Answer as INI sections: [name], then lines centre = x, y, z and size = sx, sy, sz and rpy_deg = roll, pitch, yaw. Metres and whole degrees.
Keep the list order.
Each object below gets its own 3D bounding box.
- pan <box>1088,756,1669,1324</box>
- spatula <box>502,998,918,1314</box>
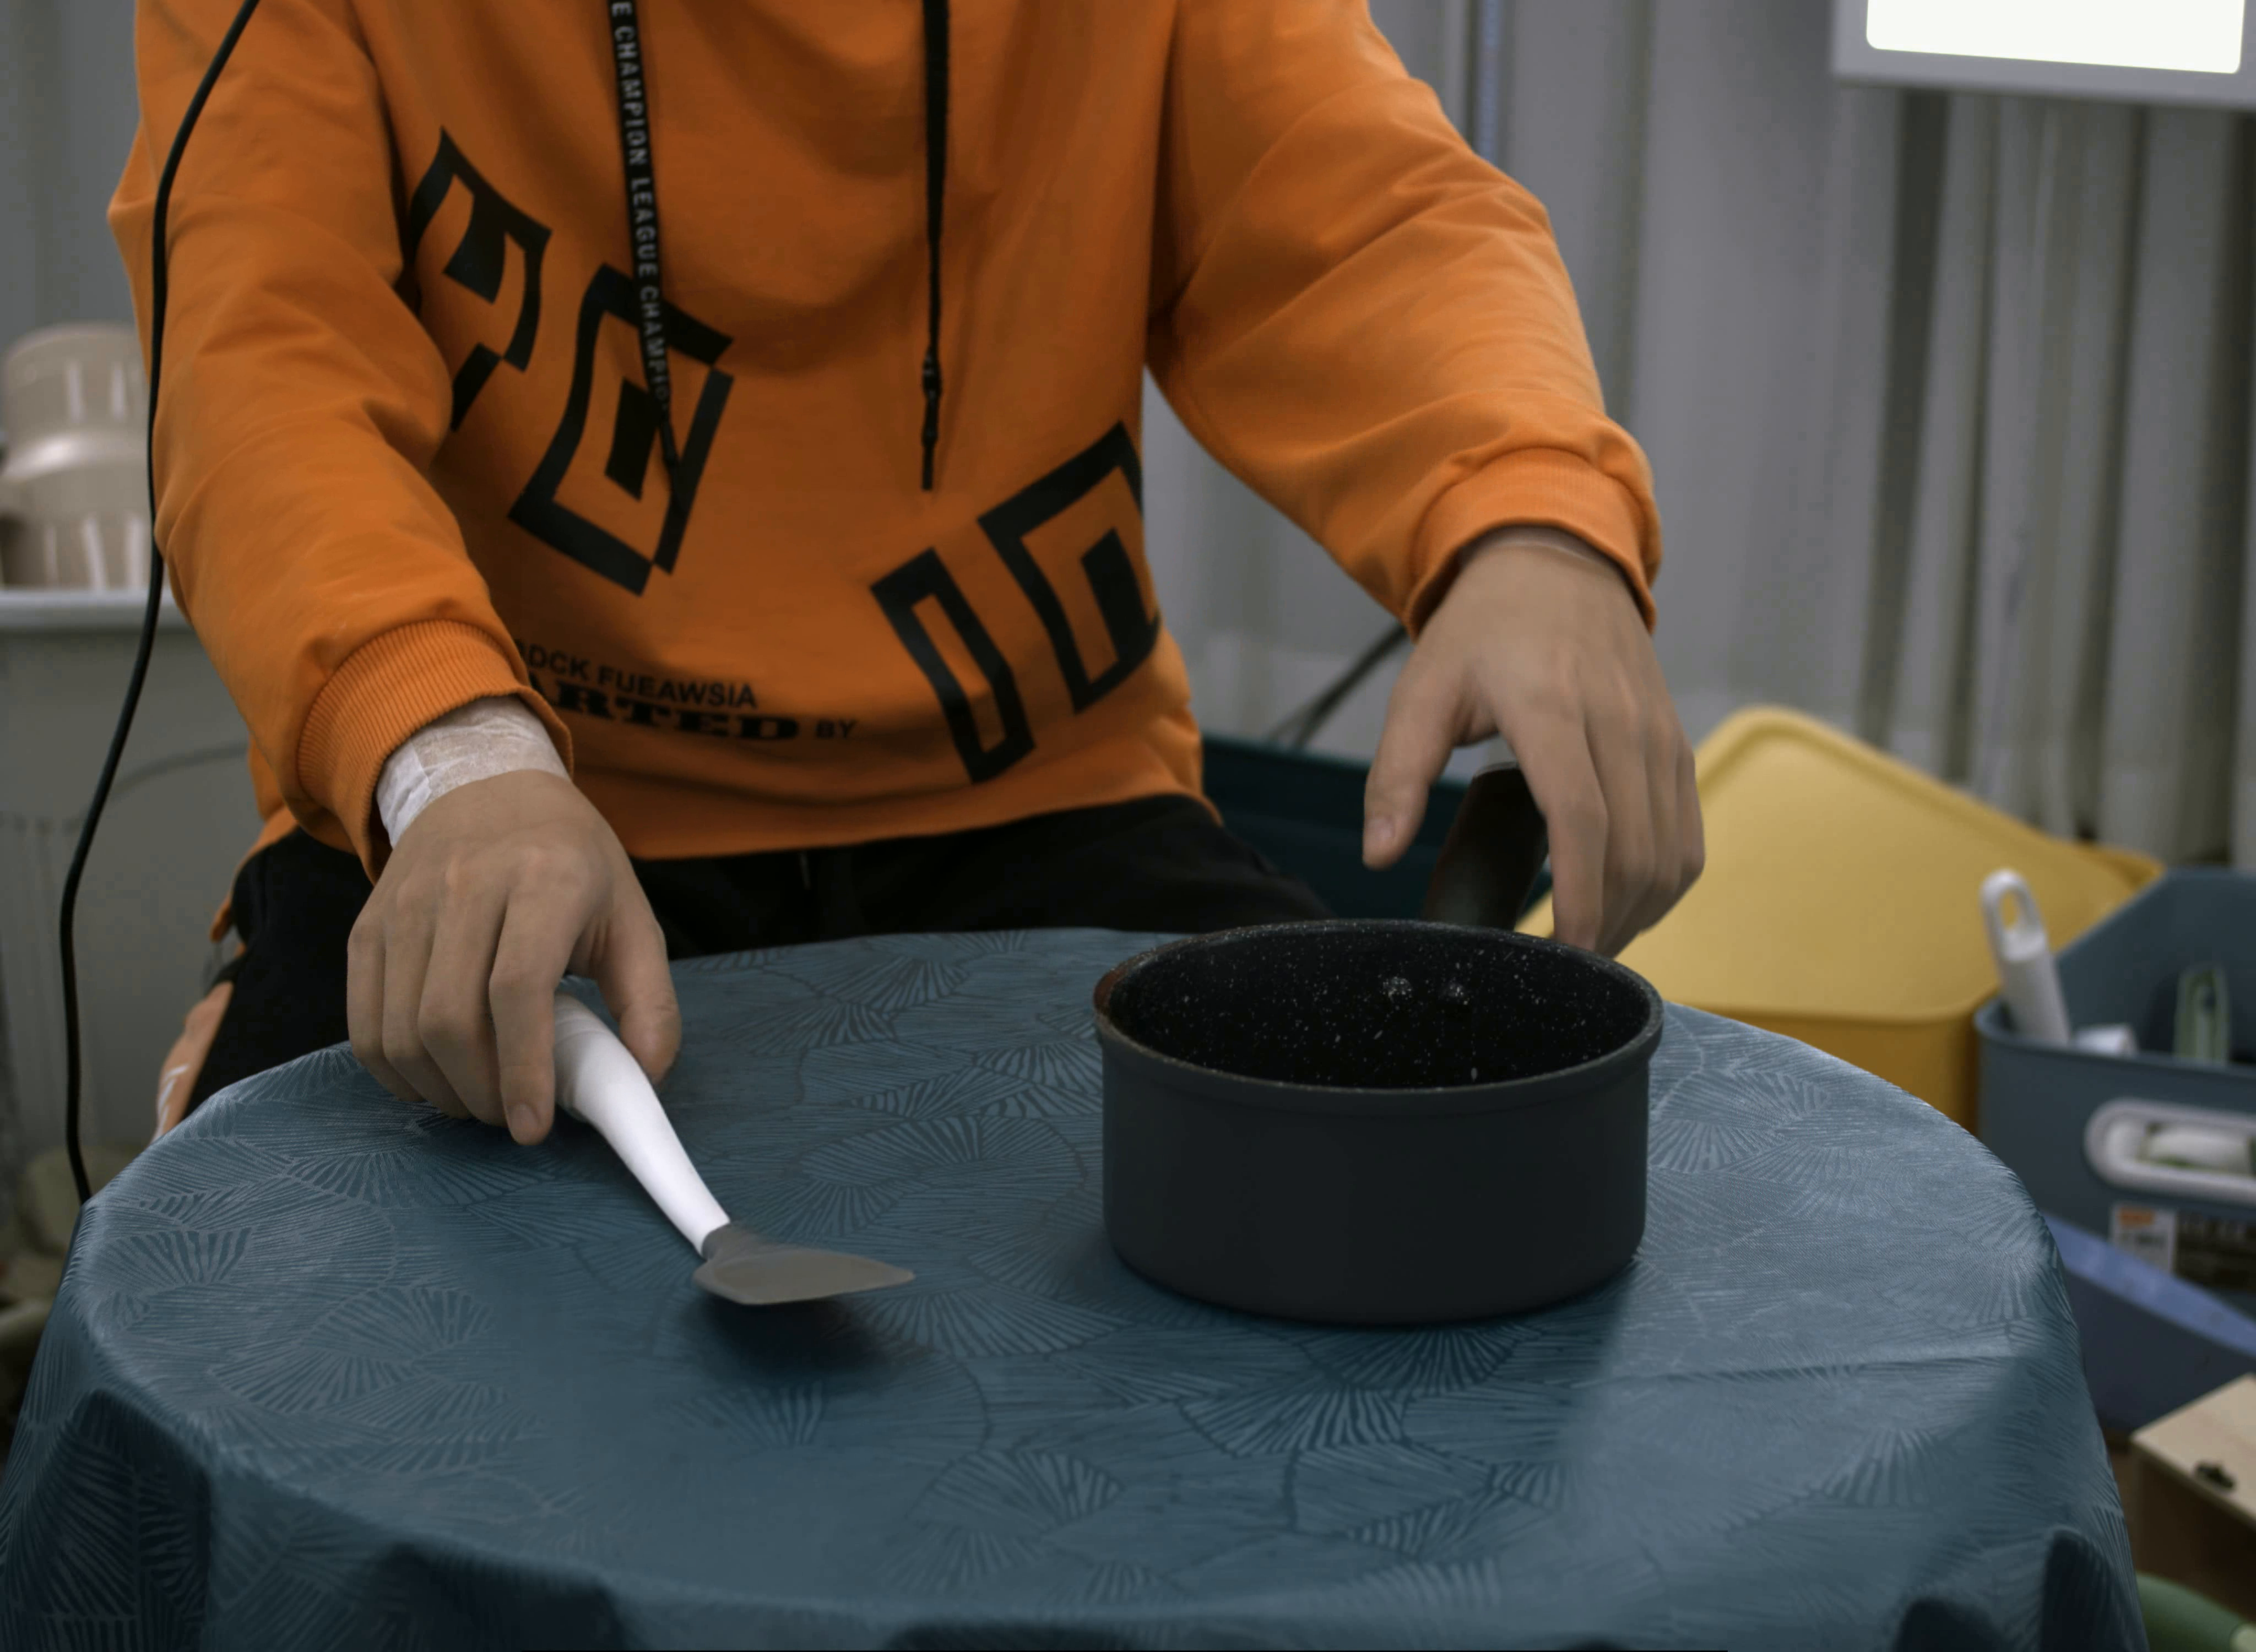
[pan]
centre = 0.097, 0.062, 1.644
size = 0.170, 0.087, 0.328
rpy_deg = 6, 18, 16
[spatula]
centre = -0.134, 0.105, 1.587
size = 0.059, 0.032, 0.284
rpy_deg = -3, 15, -22
